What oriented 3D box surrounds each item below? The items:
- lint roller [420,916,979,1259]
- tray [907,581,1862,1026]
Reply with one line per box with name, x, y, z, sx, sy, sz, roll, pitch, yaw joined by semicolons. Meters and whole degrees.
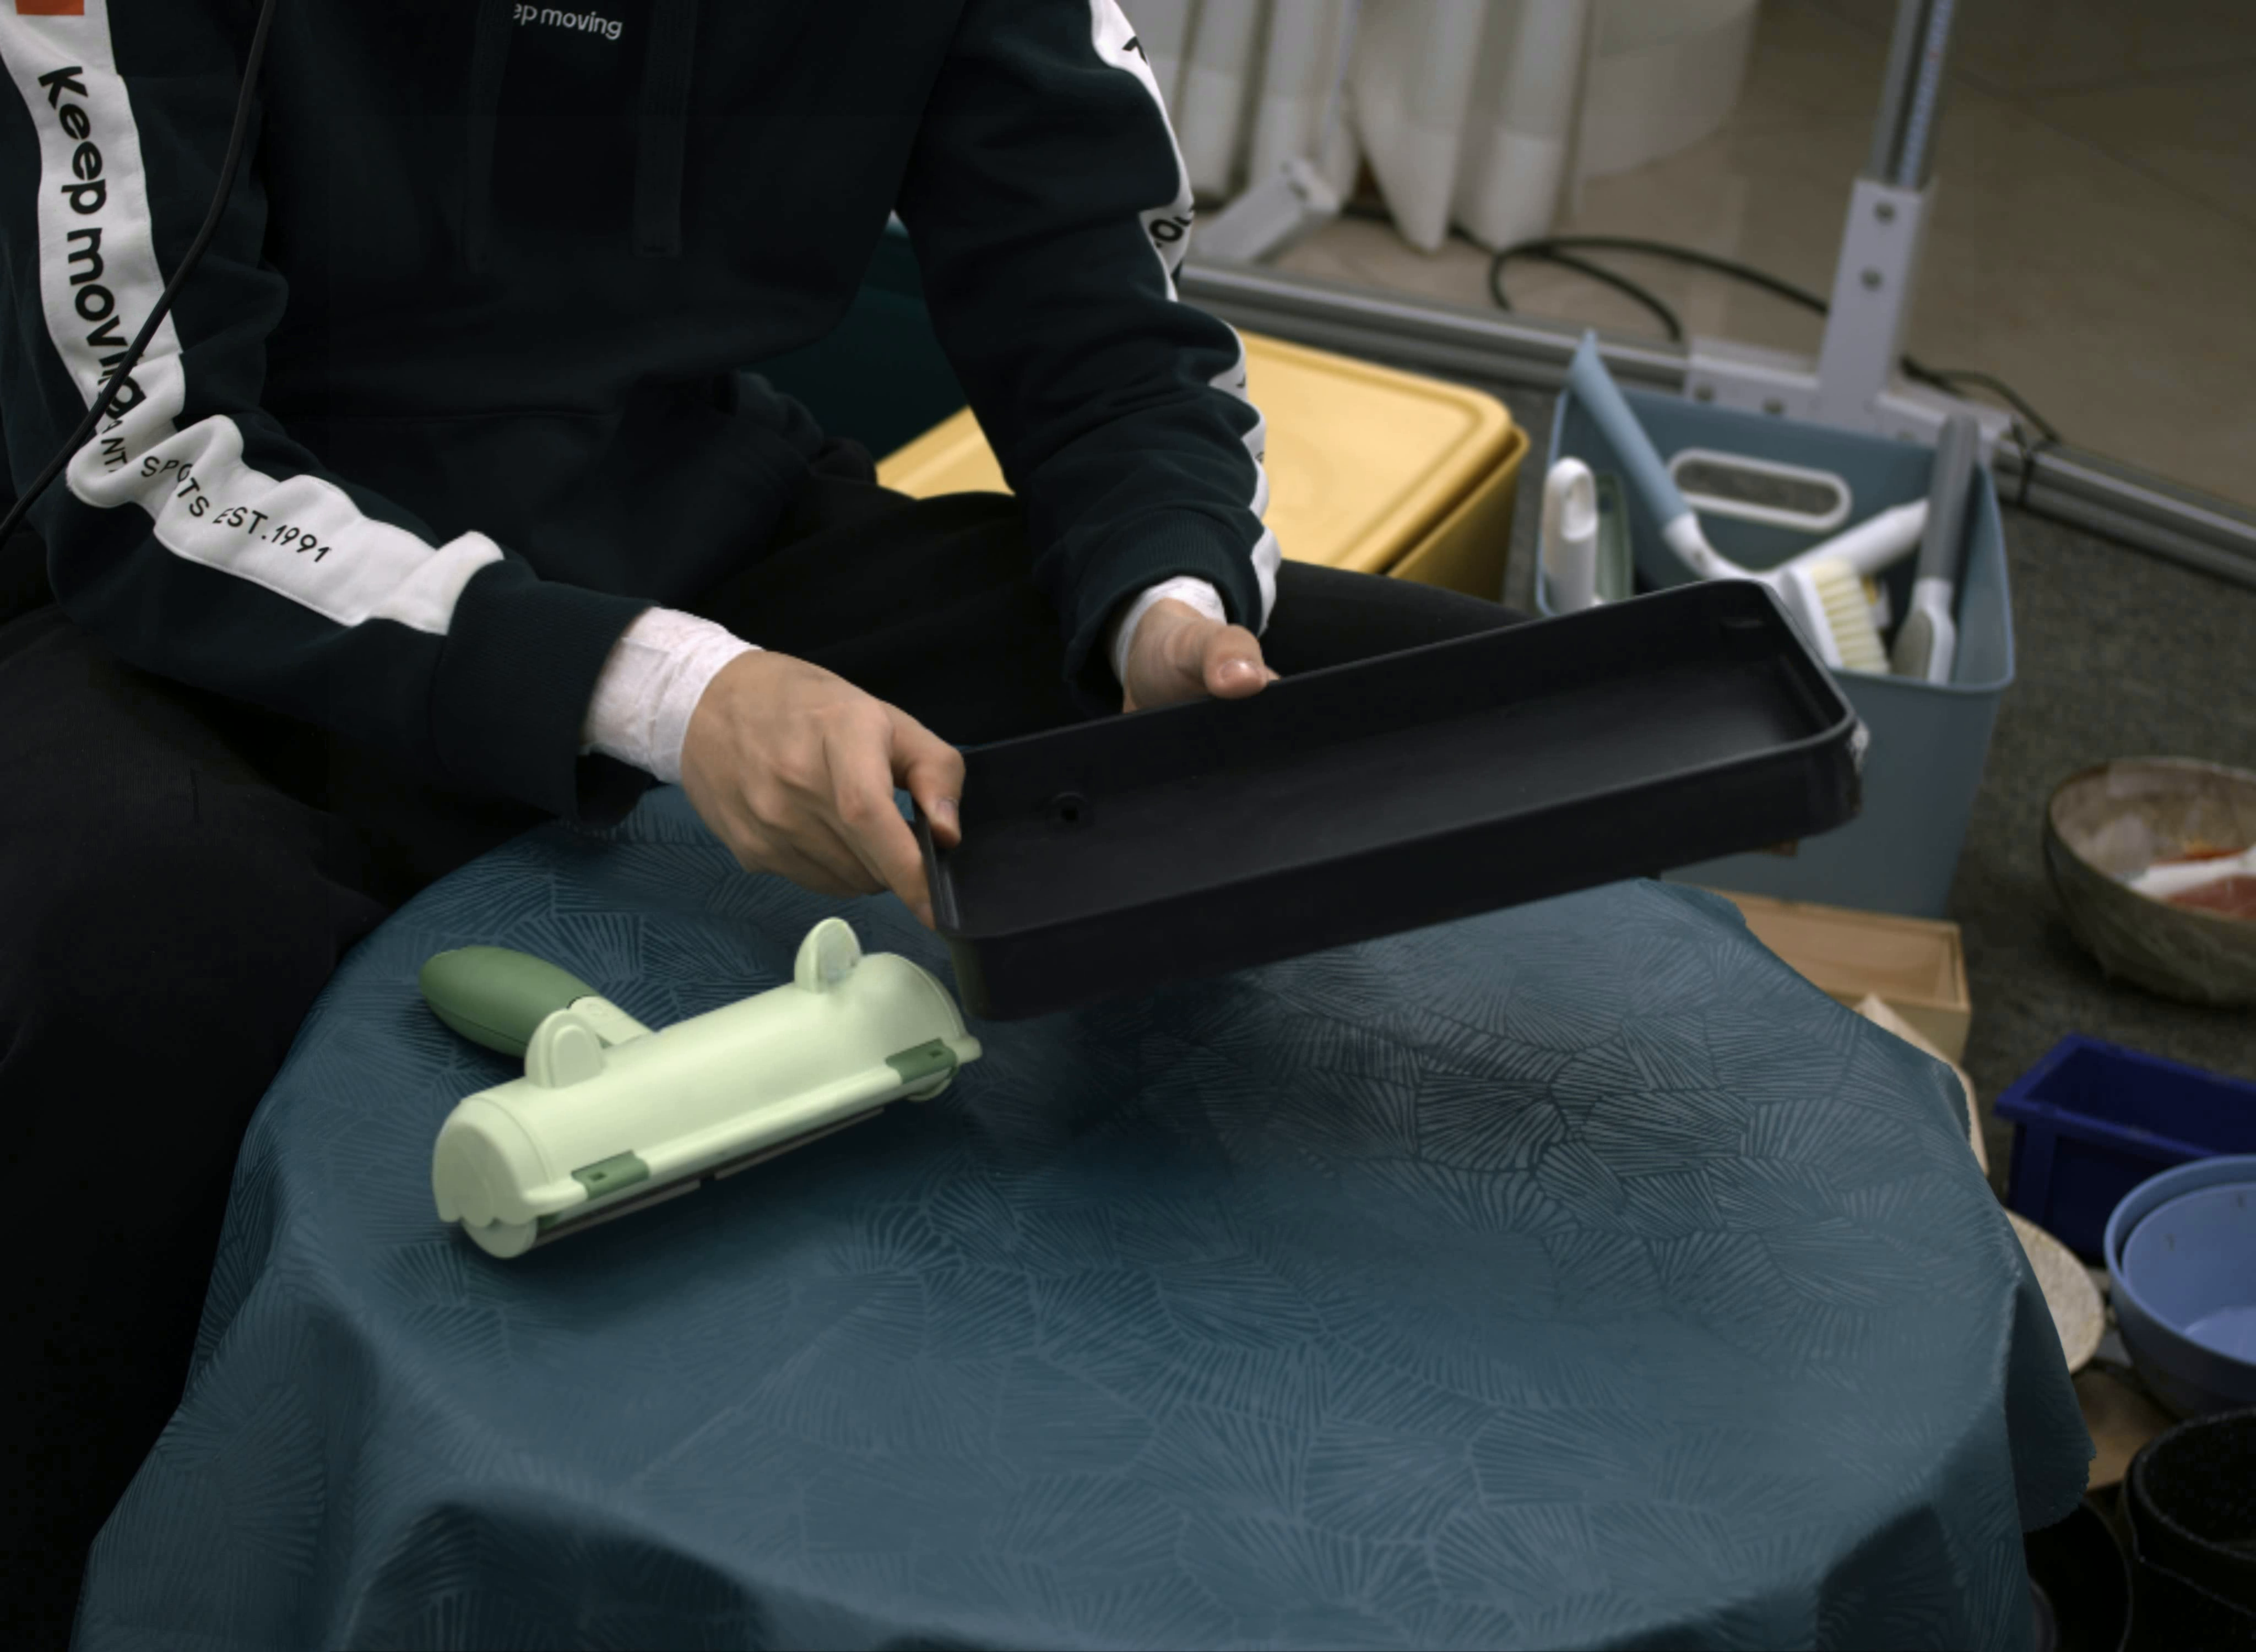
lint roller;-0.178;0.061;1.795;0.197;0.082;0.185;-19;39;-40
tray;0.085;-0.011;1.840;0.317;0.037;0.185;-13;21;0
